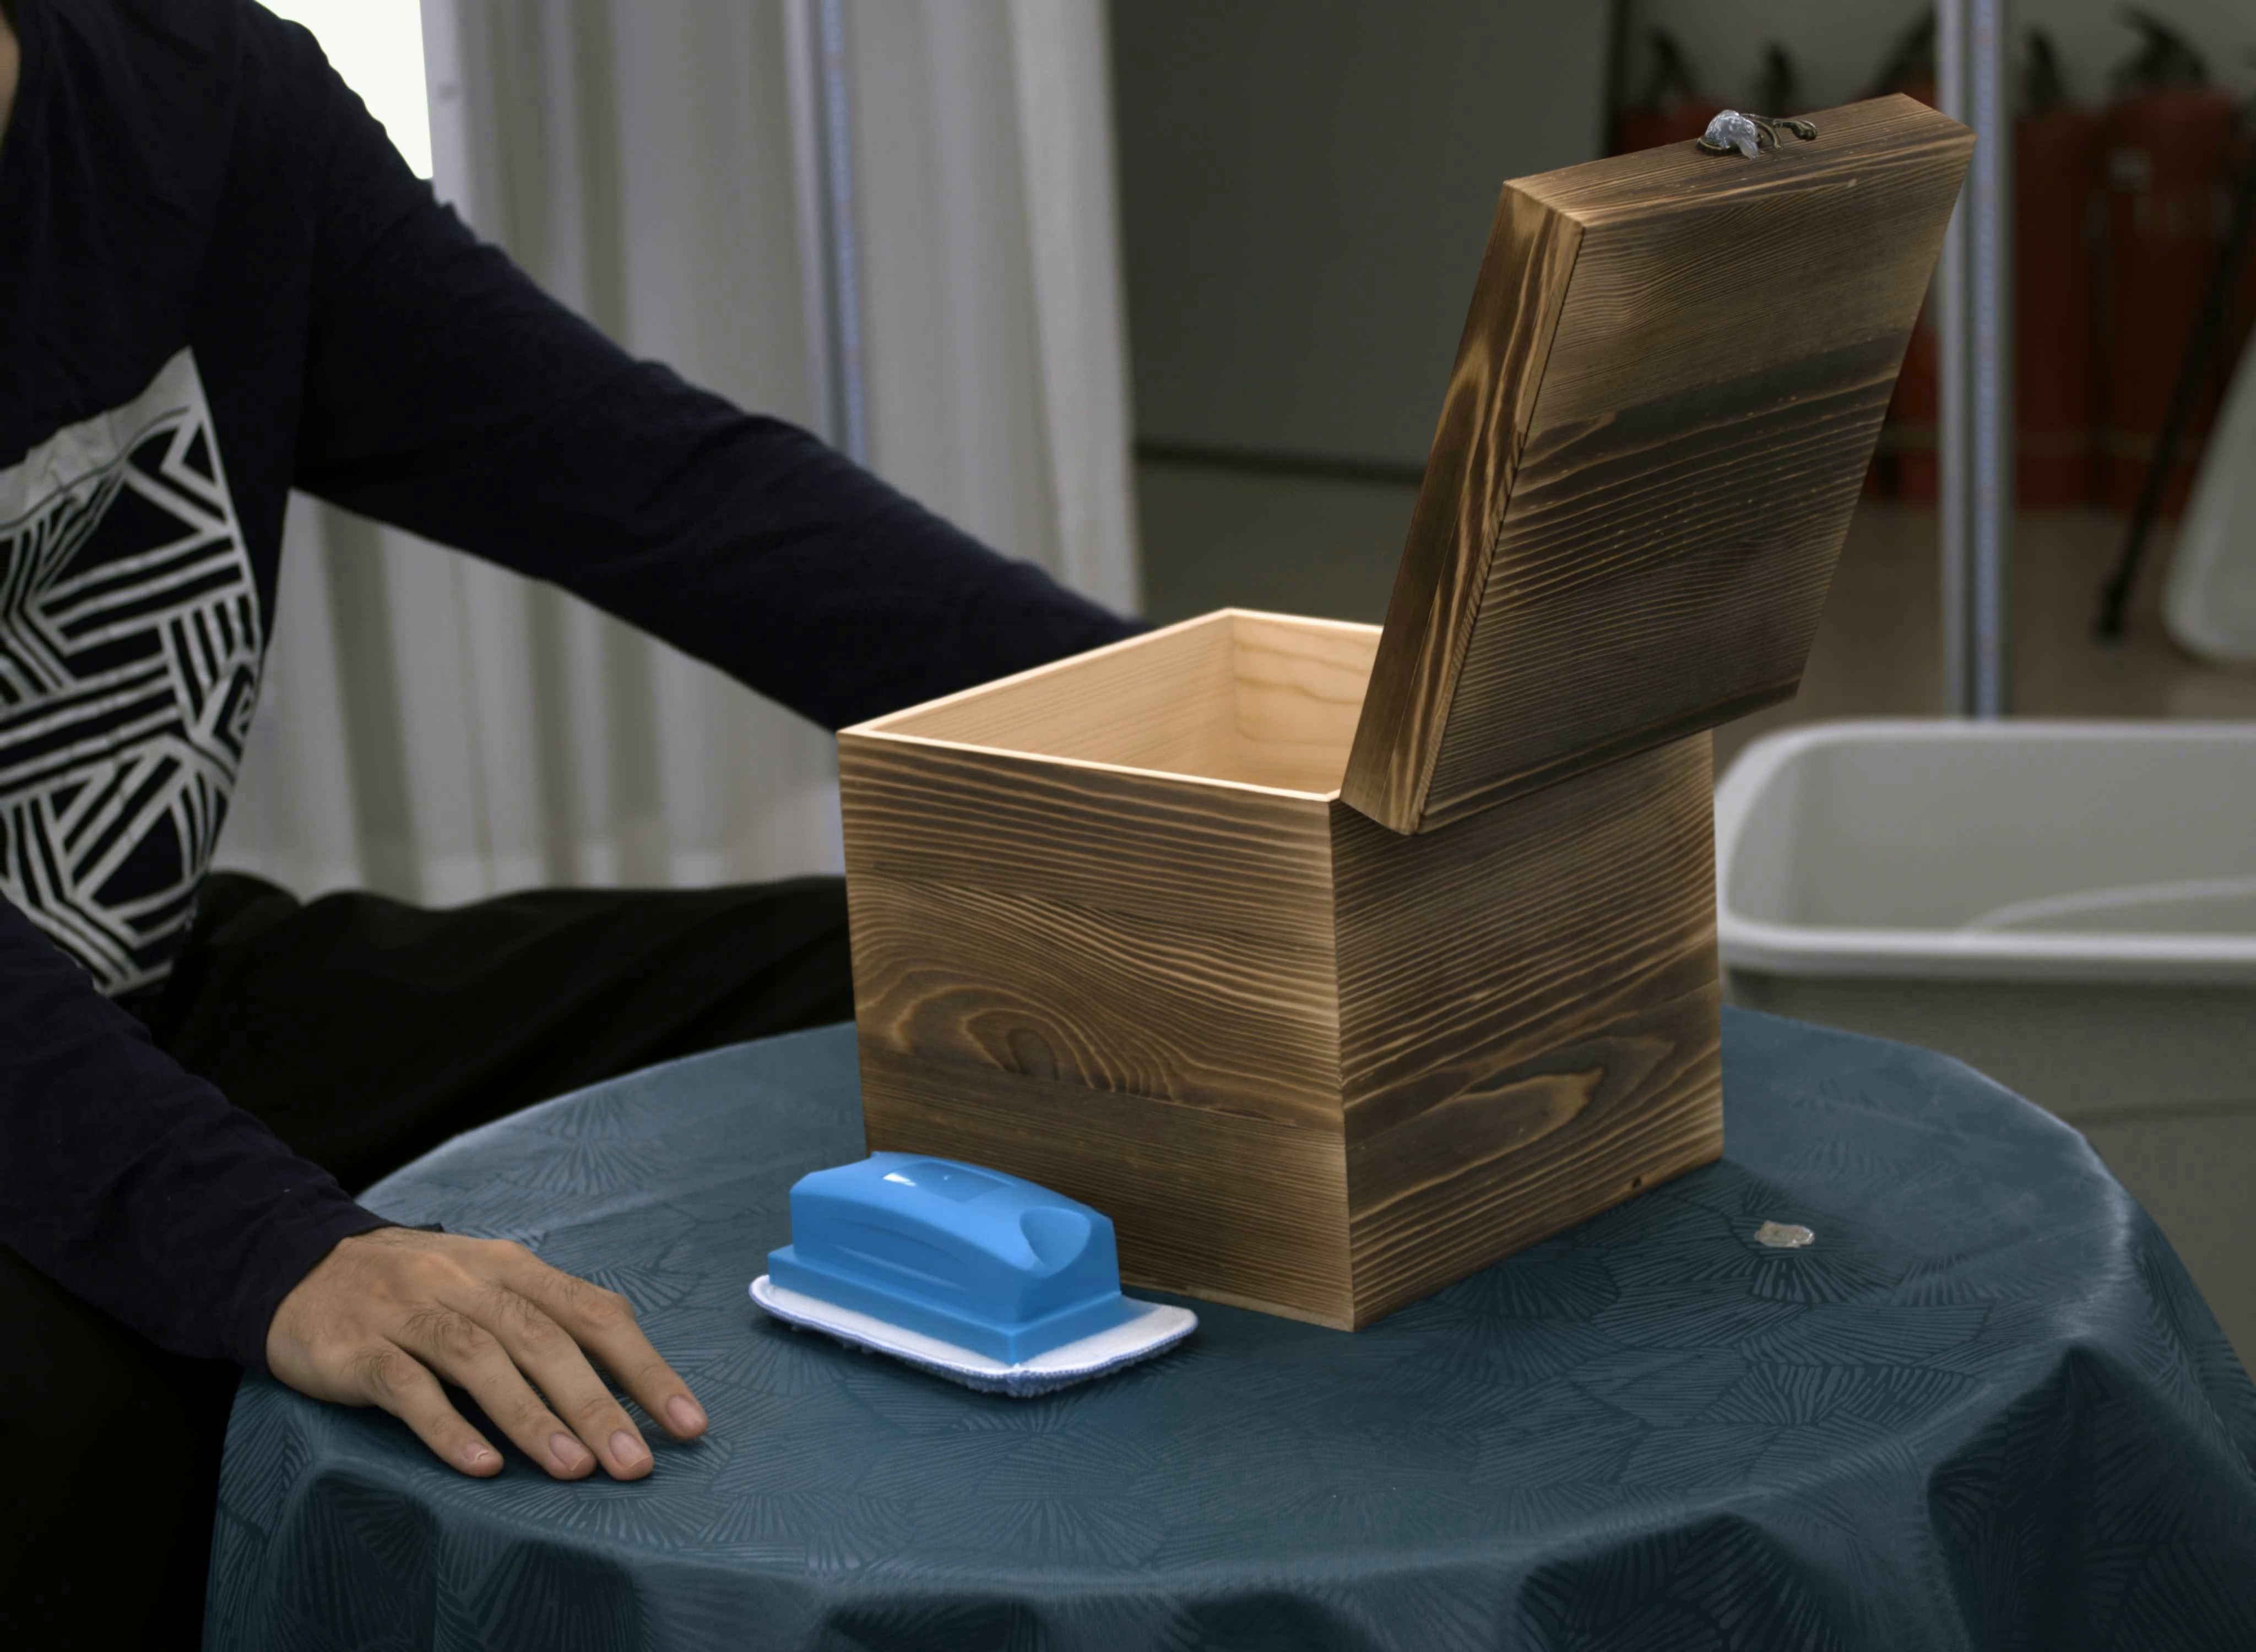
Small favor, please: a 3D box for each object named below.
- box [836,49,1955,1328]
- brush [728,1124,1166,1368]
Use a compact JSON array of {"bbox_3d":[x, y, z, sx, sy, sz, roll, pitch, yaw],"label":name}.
[{"bbox_3d":[0.085,-0.051,1.686,0.325,0.379,0.204,8,17,40],"label":"box"},{"bbox_3d":[-0.055,0.126,1.646,0.082,0.056,0.145,-10,16,-36],"label":"brush"}]
